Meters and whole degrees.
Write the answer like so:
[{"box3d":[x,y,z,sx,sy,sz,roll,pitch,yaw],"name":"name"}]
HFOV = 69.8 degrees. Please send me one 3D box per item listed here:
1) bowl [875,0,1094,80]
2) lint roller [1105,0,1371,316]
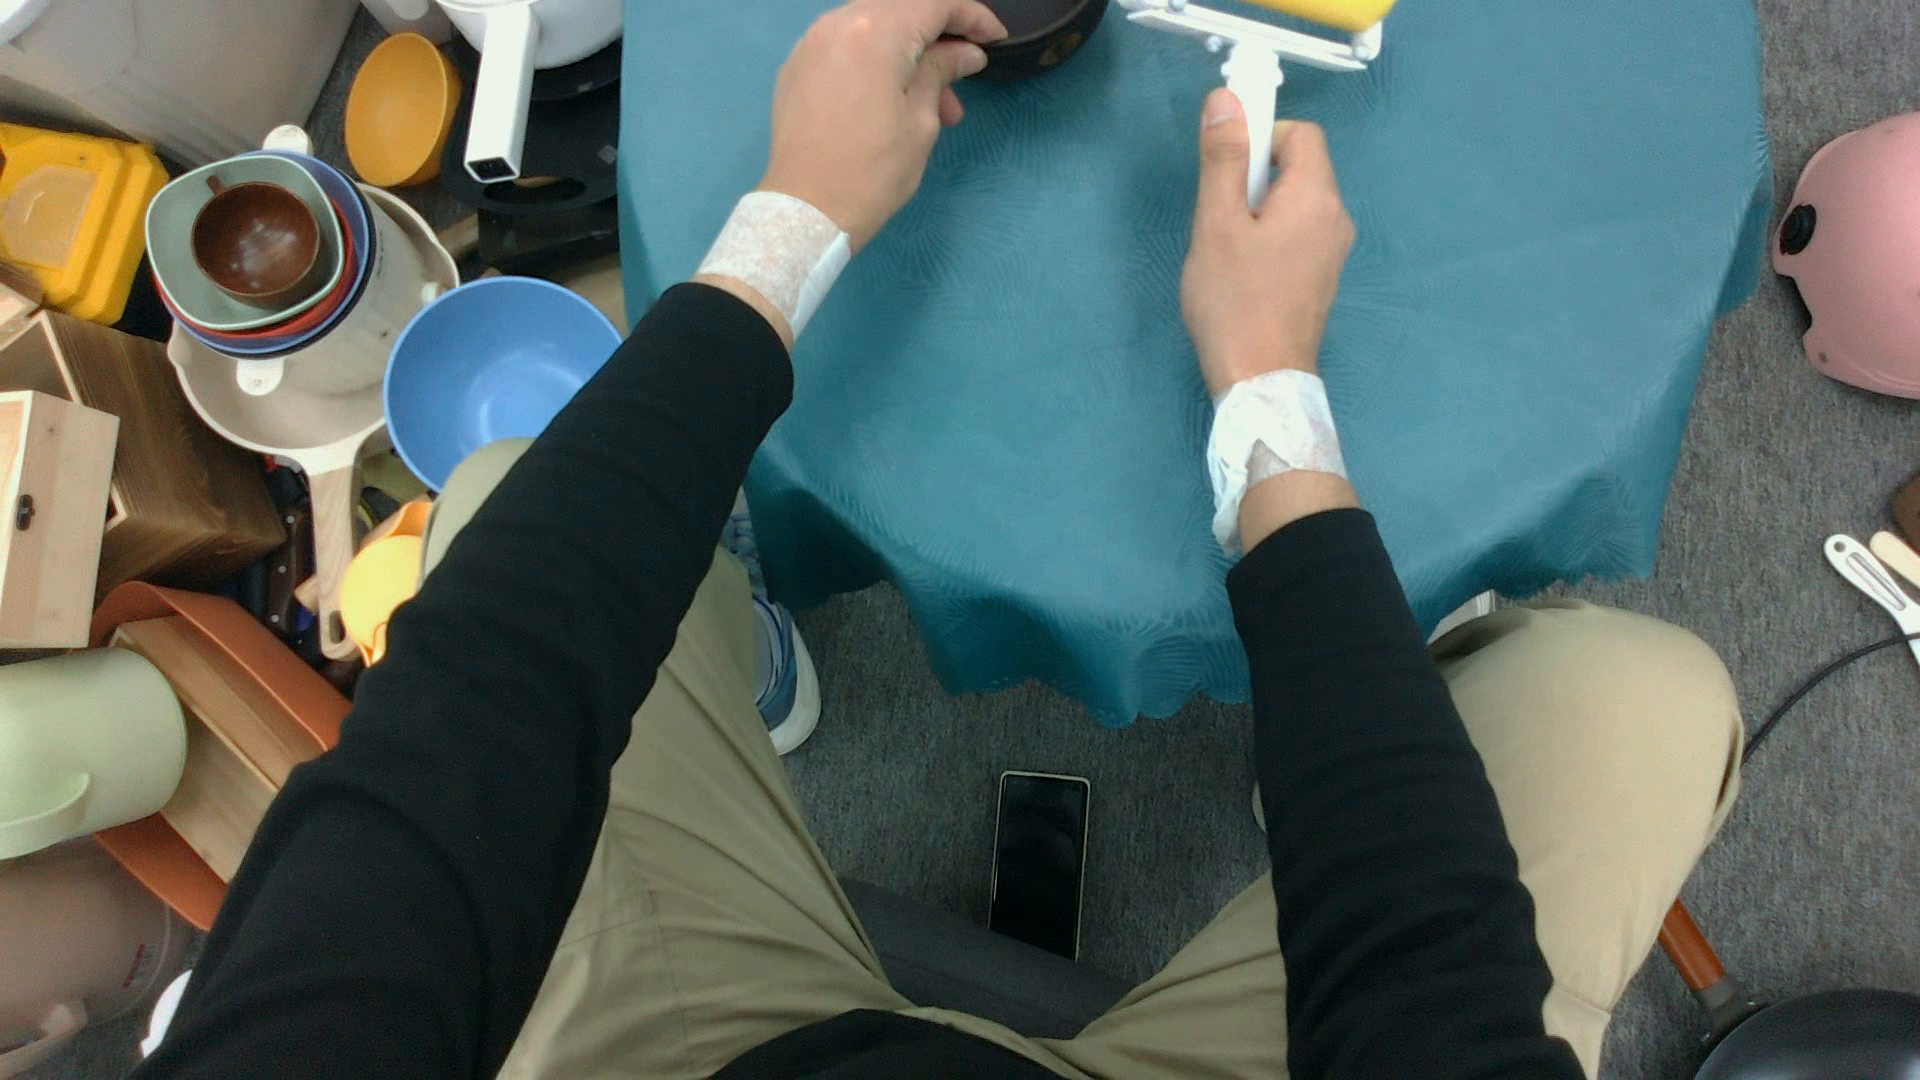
[{"box3d":[0.013,-0.290,0.706,0.118,0.070,0.118,-1,79,3],"name":"bowl"},{"box3d":[0.140,-0.204,0.644,0.175,0.051,0.192,-8,91,-38],"name":"lint roller"}]
